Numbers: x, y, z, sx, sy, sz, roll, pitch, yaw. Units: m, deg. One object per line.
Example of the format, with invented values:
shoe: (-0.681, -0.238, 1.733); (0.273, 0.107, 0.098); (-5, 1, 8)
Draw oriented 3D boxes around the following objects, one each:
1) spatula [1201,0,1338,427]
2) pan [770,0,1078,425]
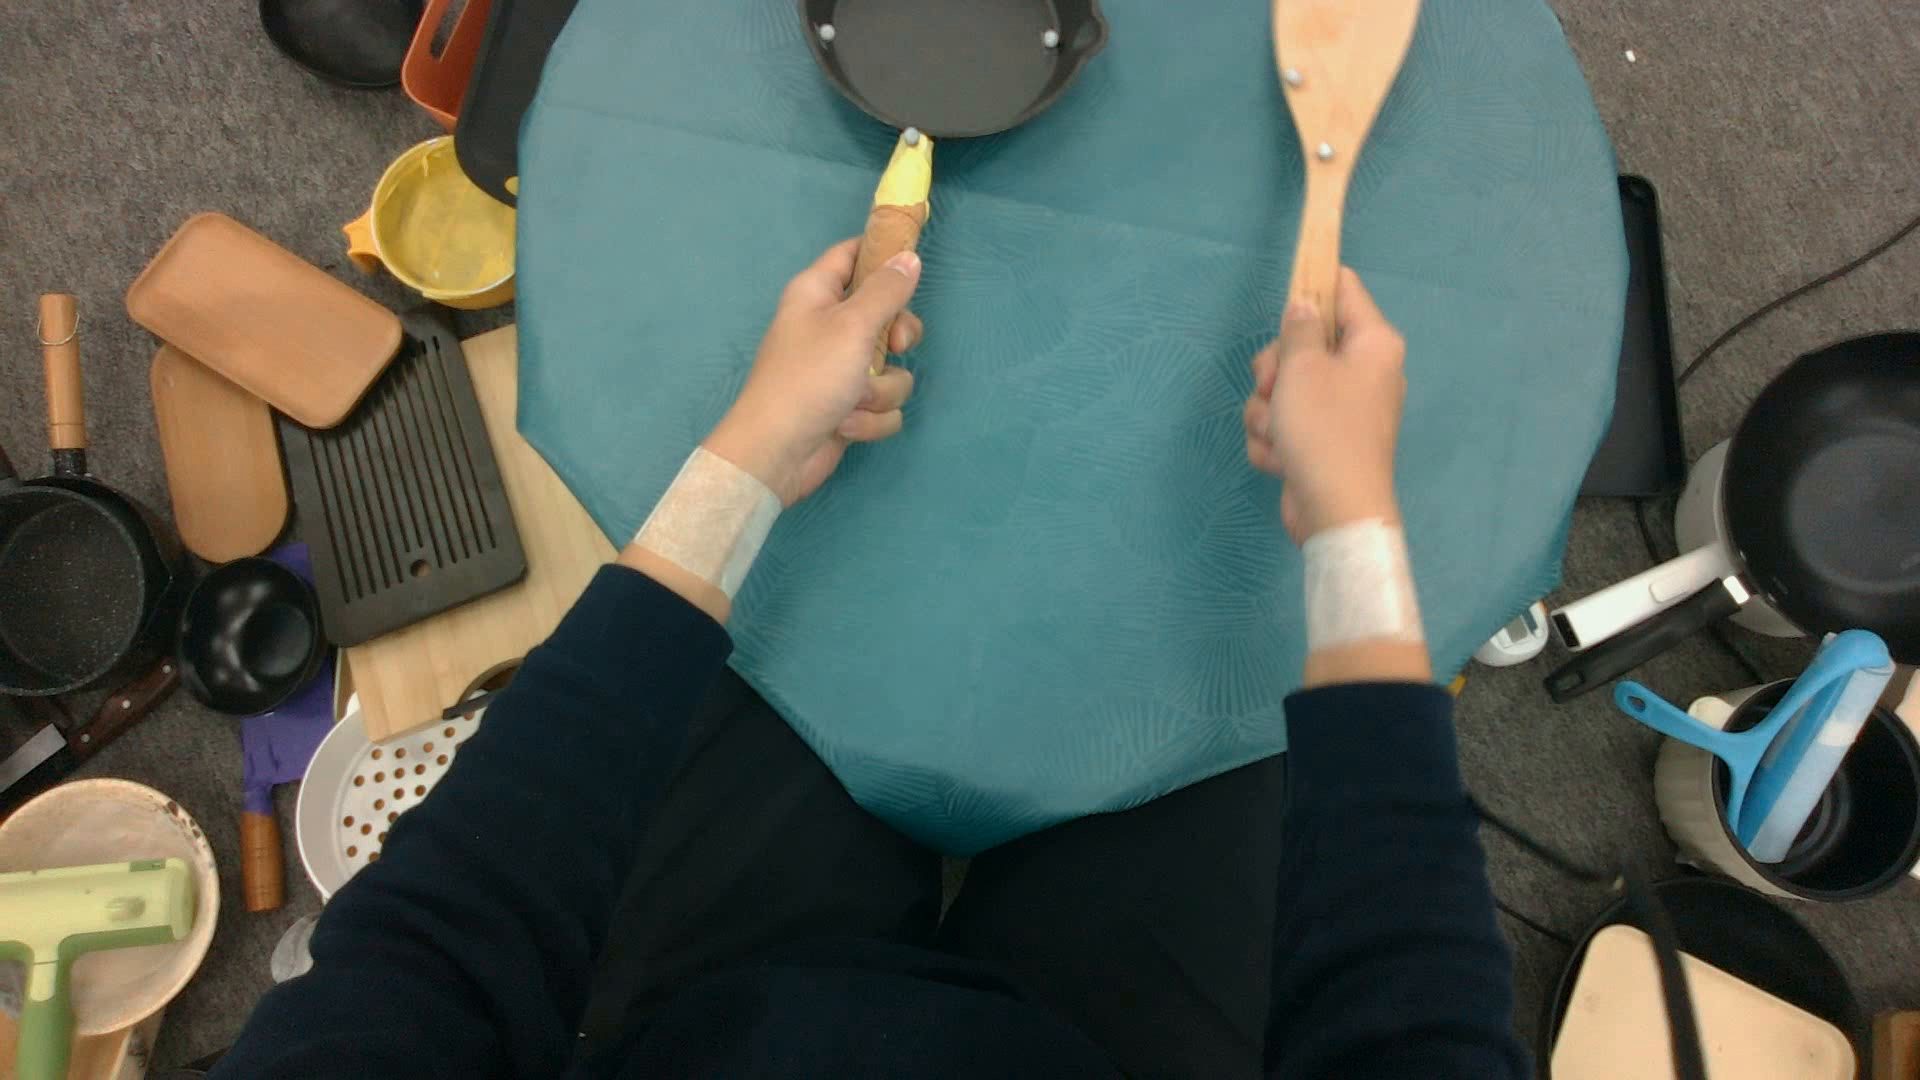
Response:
spatula: (0.163, -0.202, 0.710); (0.080, 0.016, 0.329); (1, 64, 7)
pan: (-0.039, -0.206, 0.706); (0.169, 0.049, 0.325); (13, 74, -1)
